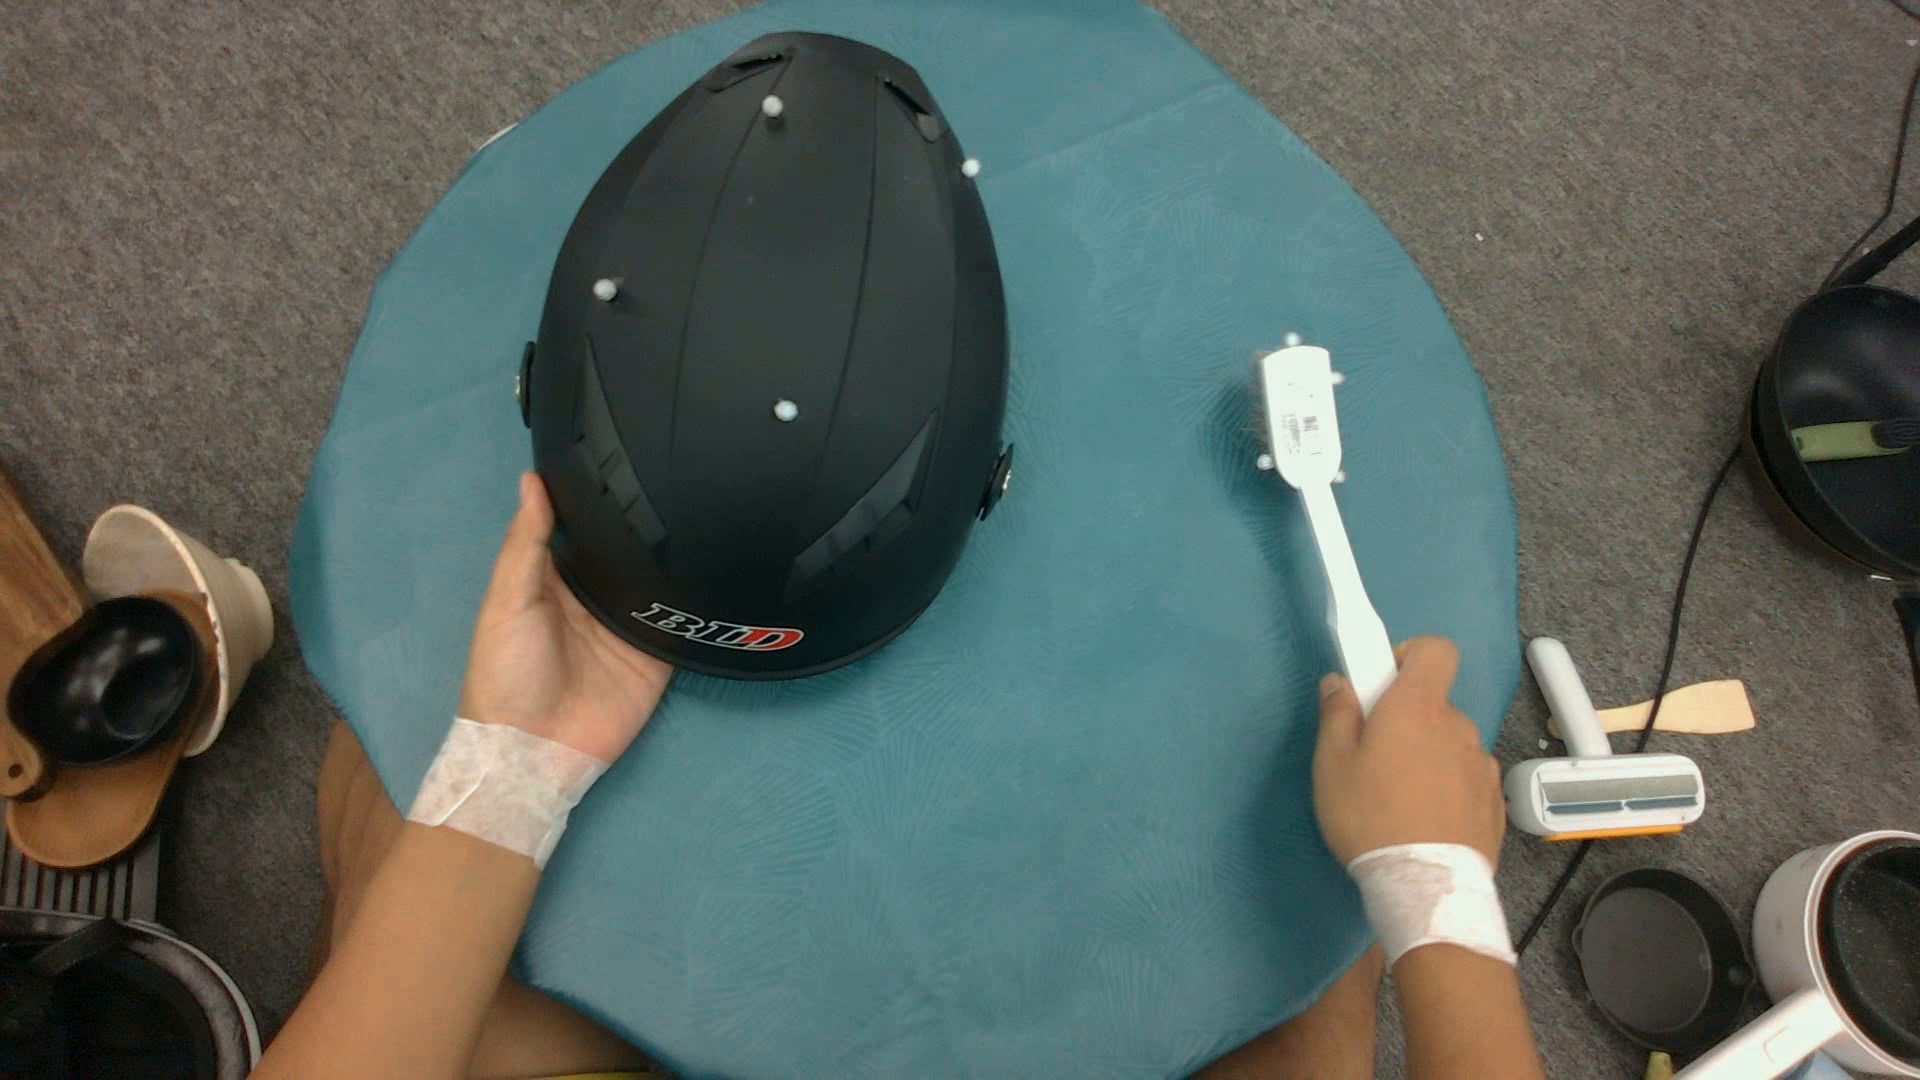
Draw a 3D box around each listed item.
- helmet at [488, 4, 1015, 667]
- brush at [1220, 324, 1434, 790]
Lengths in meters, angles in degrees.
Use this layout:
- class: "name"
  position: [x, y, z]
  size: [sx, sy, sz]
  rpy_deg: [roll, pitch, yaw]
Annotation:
- class: "helmet"
  position: [-0.087, -0.096, 0.613]
  size: [0.247, 0.171, 0.278]
  rpy_deg: [13, 64, -5]
- class: "brush"
  position: [0.180, 0.004, 0.682]
  size: [0.034, 0.050, 0.244]
  rpy_deg: [-17, 78, 3]
